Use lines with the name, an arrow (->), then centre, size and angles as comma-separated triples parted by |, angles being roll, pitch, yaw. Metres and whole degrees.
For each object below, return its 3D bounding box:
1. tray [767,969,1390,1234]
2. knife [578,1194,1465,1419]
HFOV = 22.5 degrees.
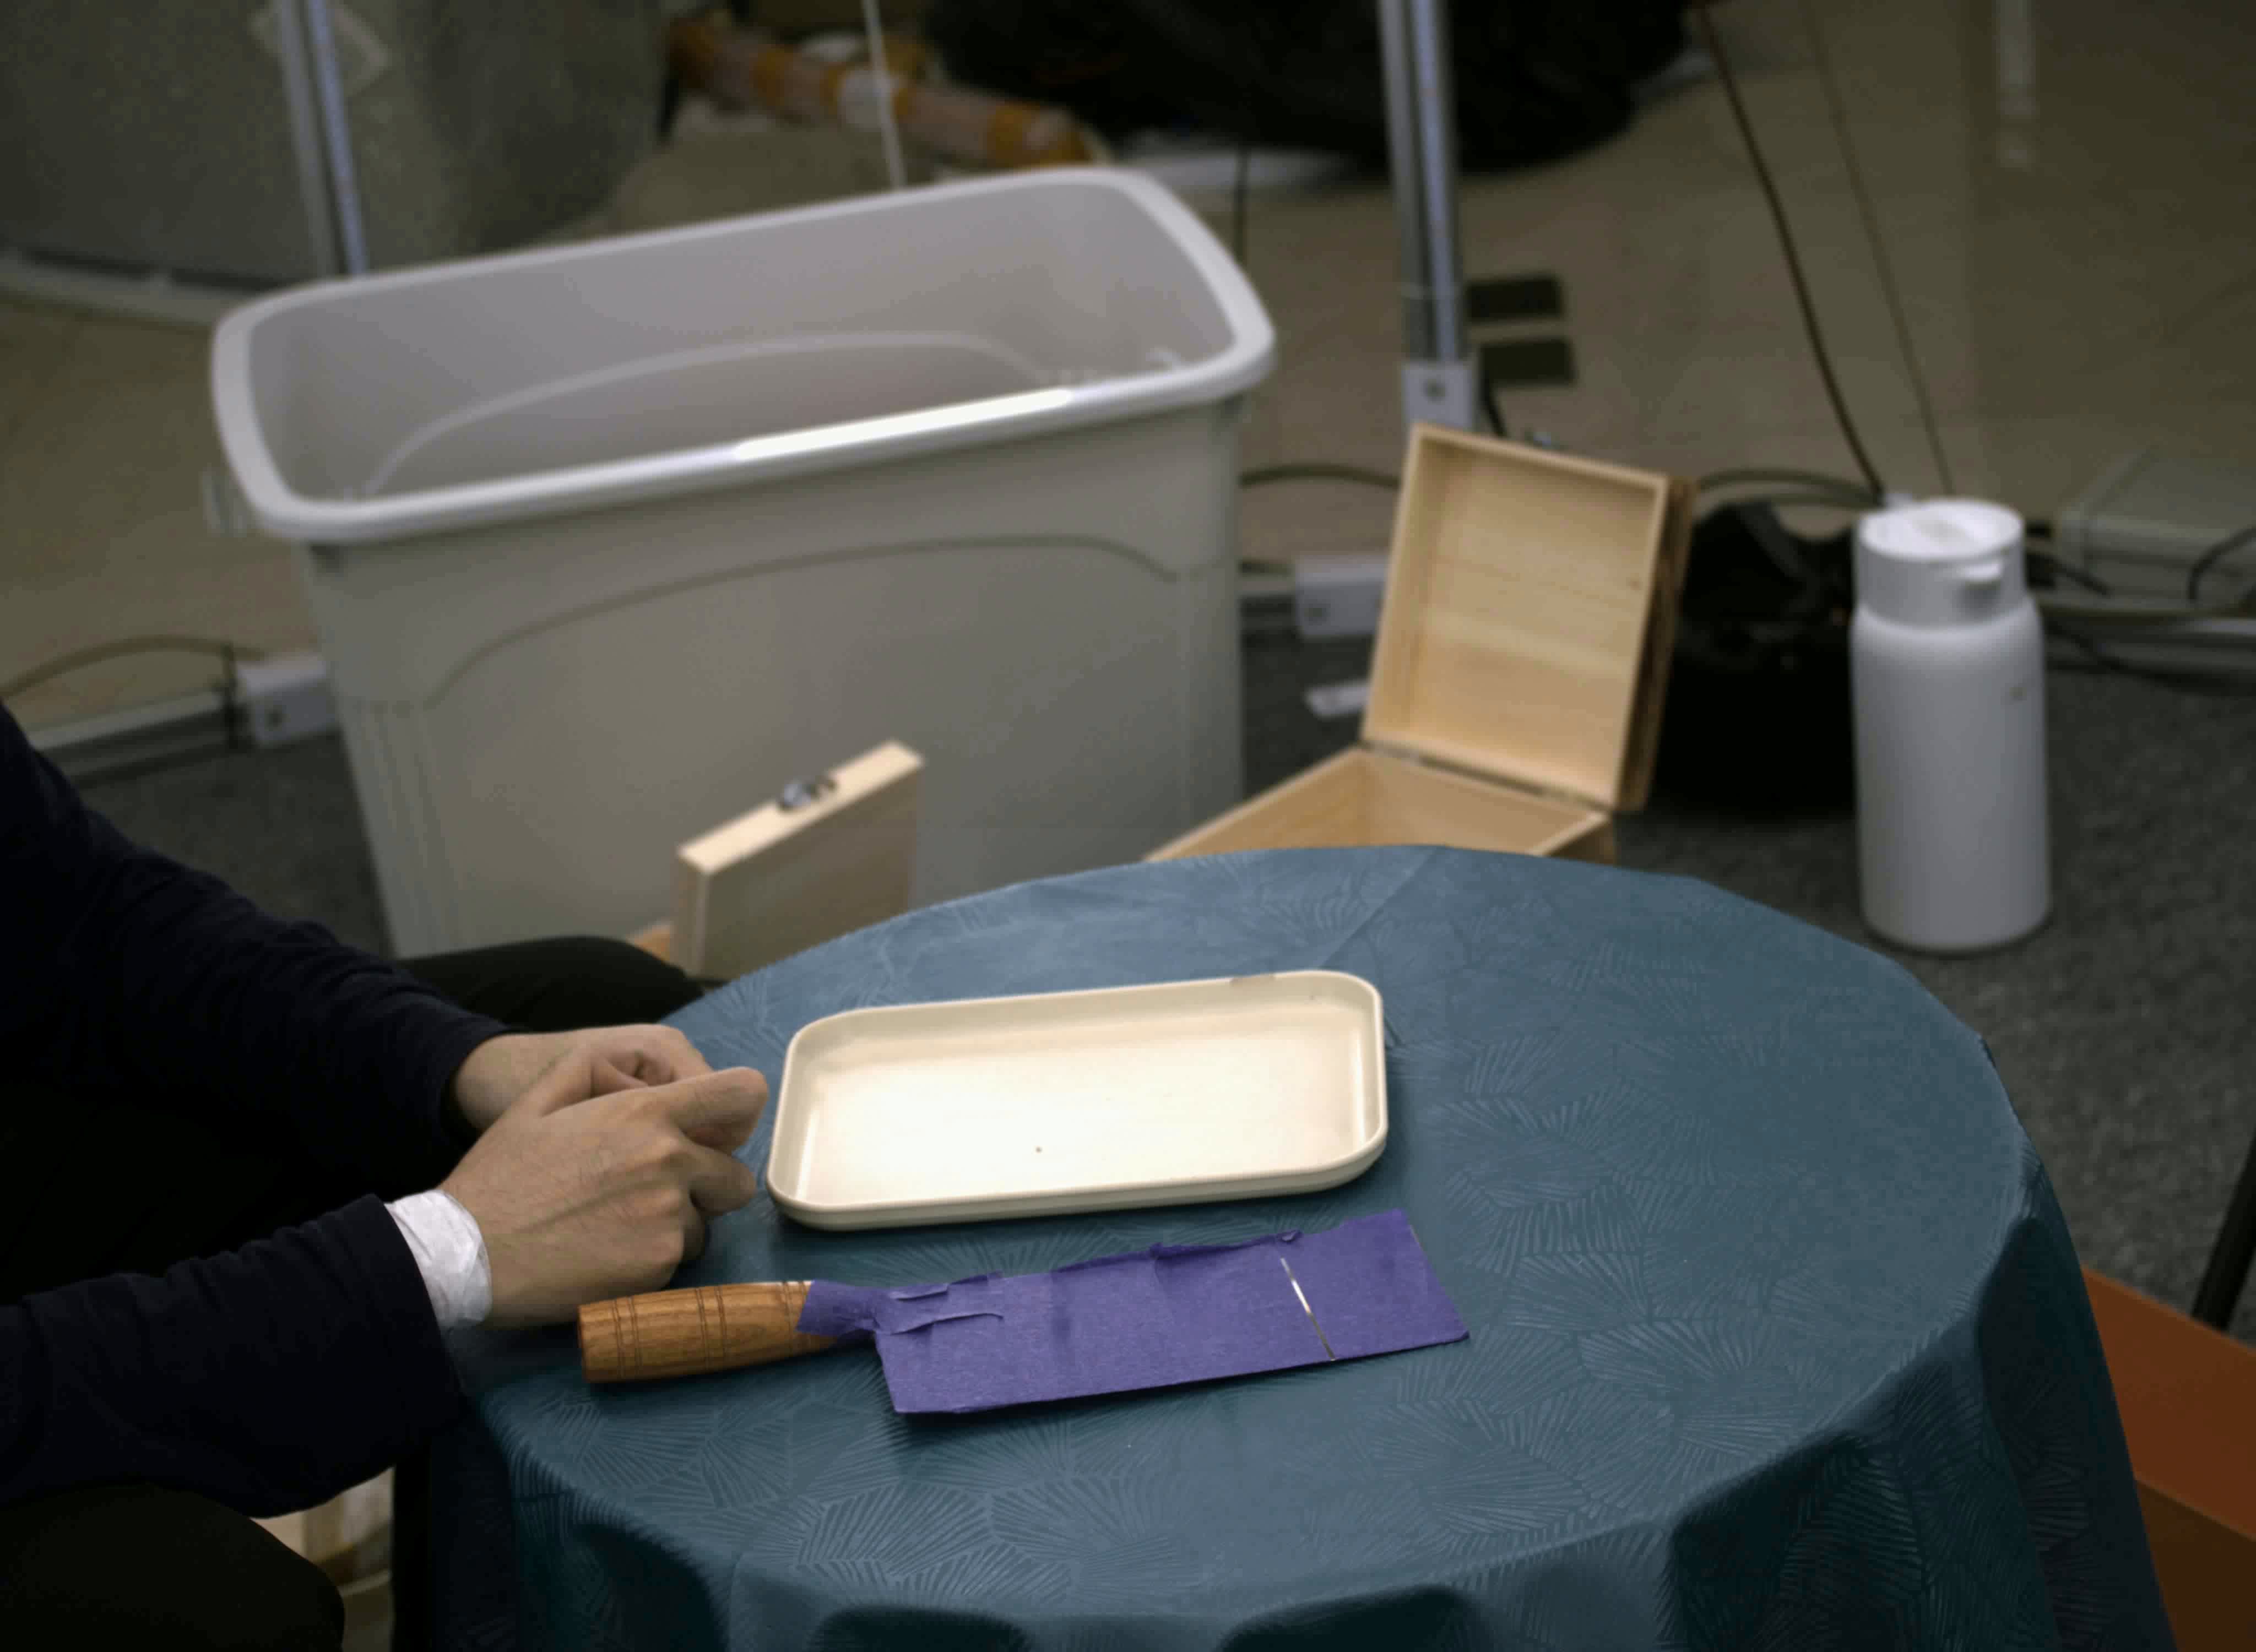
tray -> -0.018, 0.108, 2.202 | 0.239, 0.018, 0.169 | -5, 25, 4
knife -> -0.038, 0.179, 2.043 | 0.314, 0.033, 0.102 | -10, 25, -7
